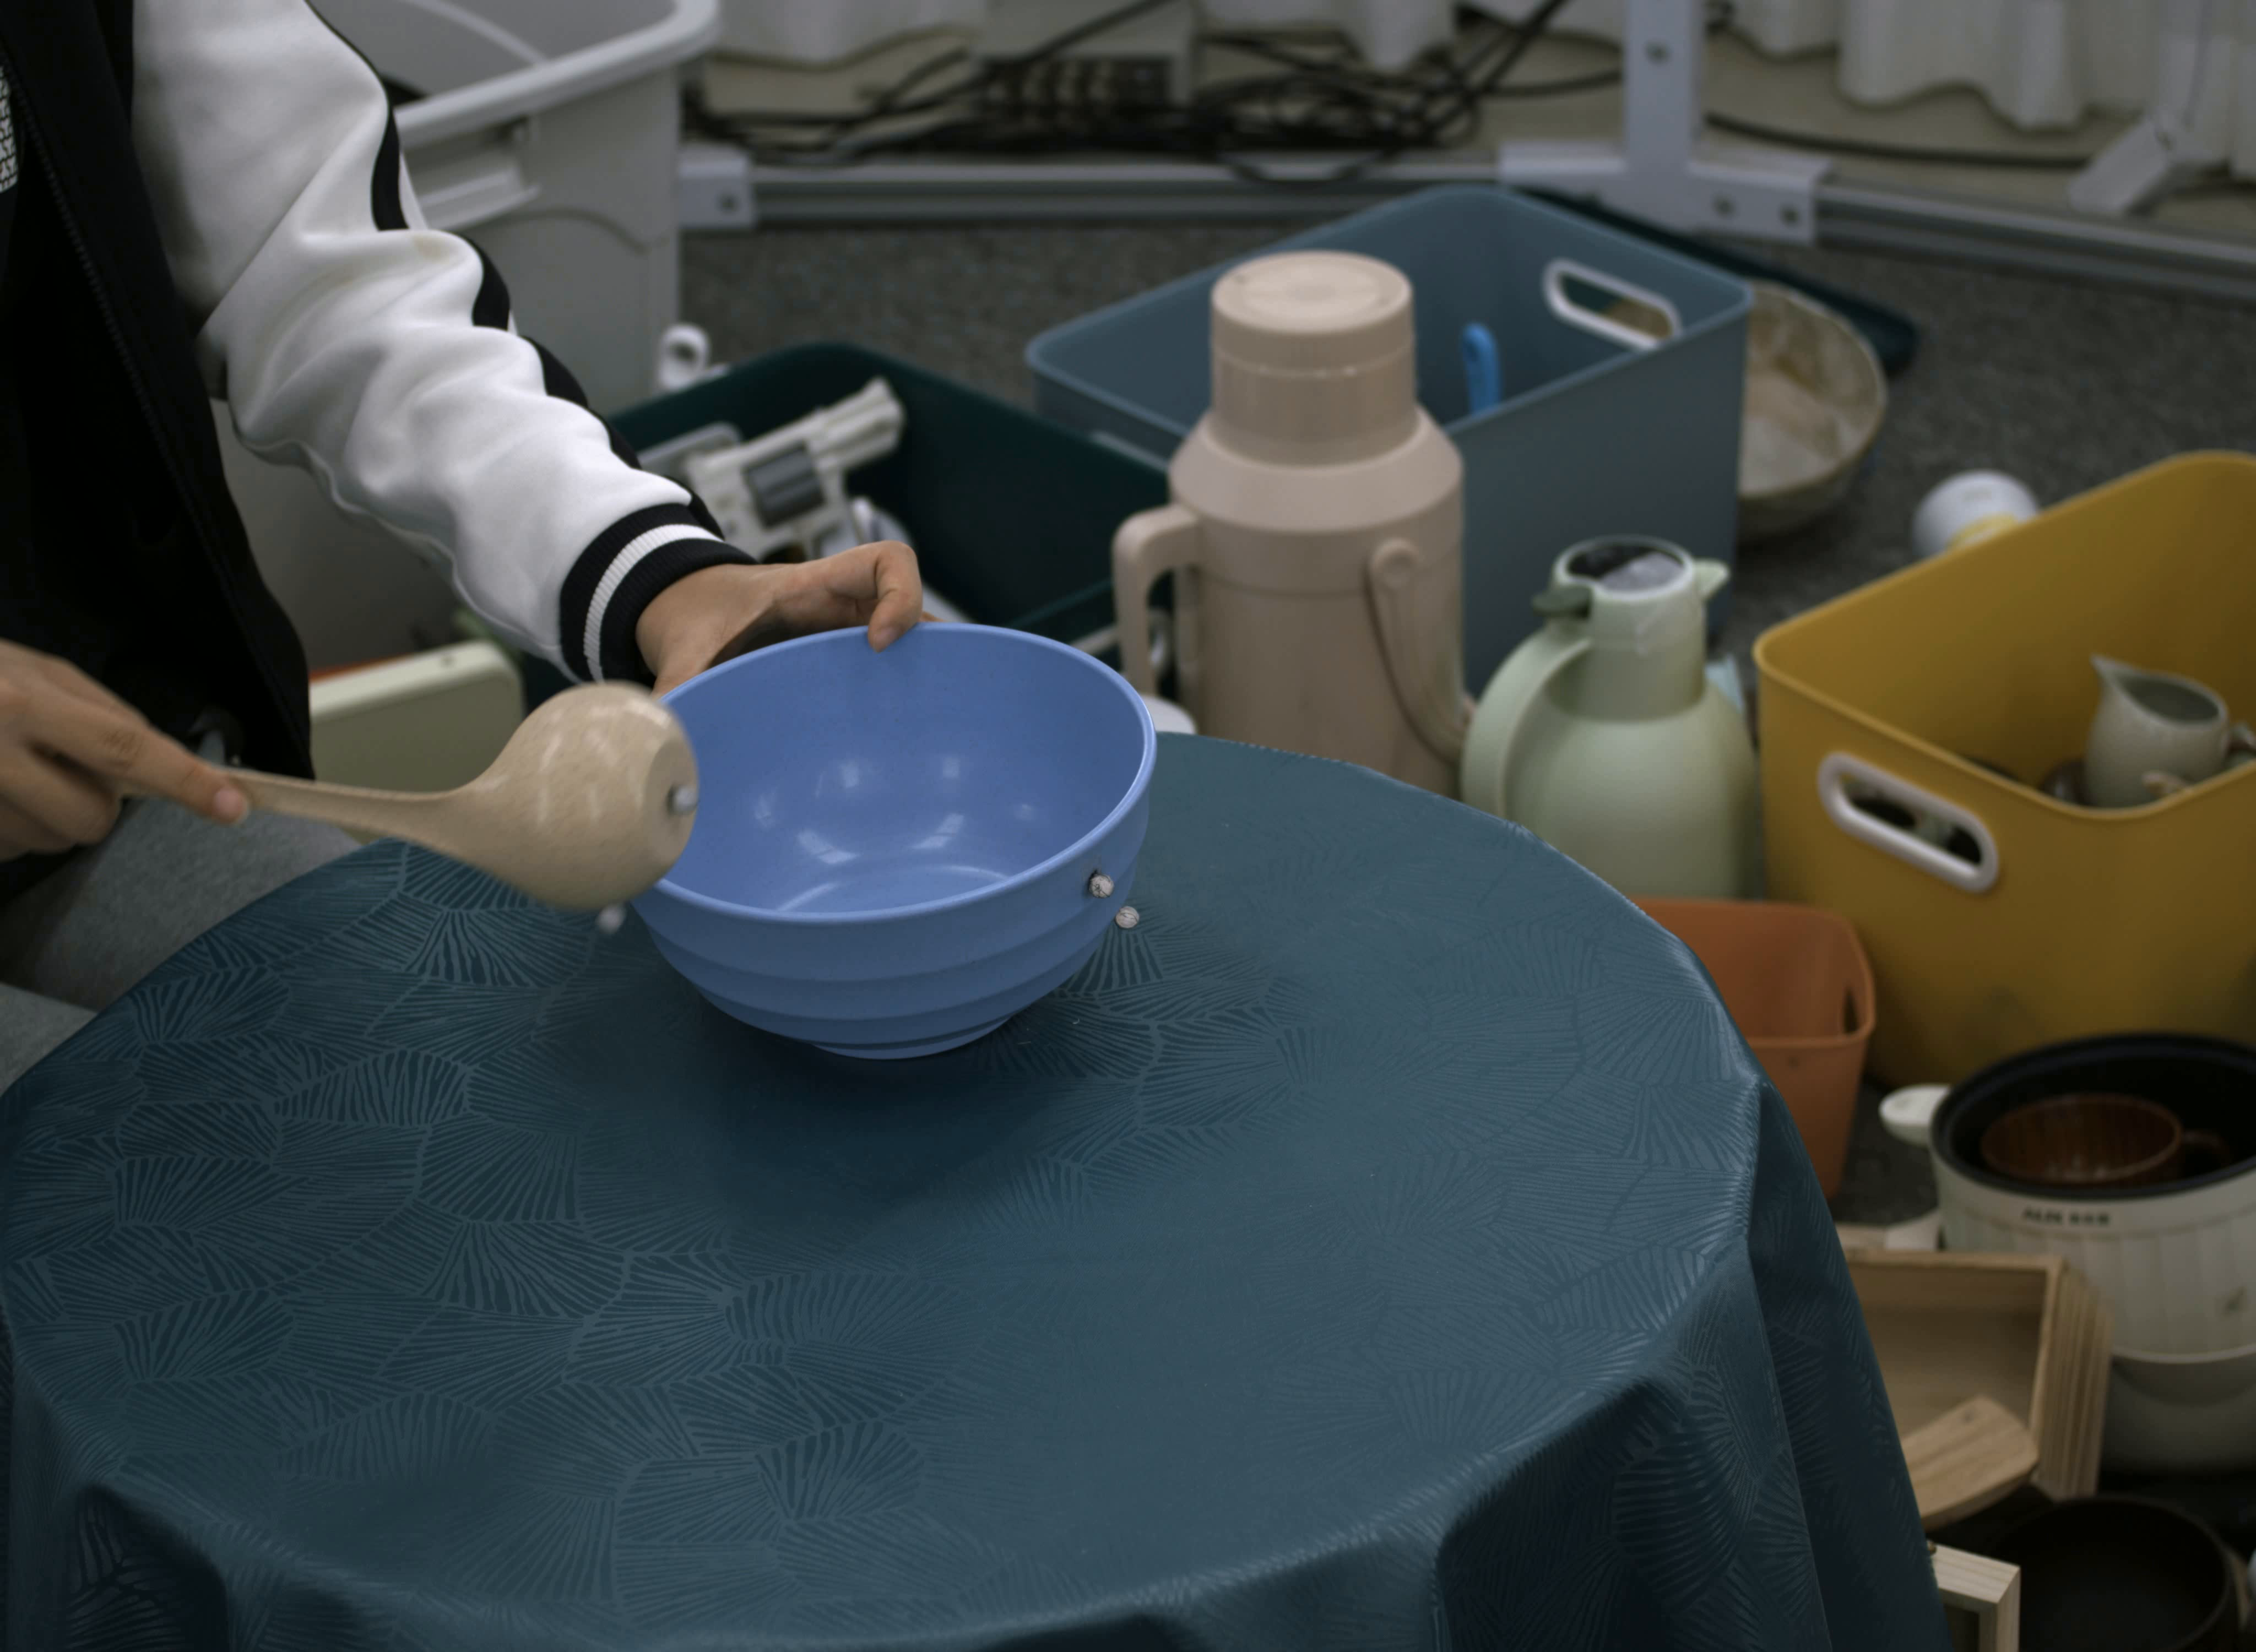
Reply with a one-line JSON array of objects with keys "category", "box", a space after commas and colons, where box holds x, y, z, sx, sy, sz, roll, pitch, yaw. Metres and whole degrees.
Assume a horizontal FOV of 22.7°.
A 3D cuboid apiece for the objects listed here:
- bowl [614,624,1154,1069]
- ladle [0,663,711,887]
[{"category": "bowl", "box": [-0.082, 0.021, 1.963, 0.195, 0.094, 0.200, -6, 32, 4]}, {"category": "ladle", "box": [-0.253, -0.032, 1.794, 0.253, 0.071, 0.074, 10, 35, 22]}]
